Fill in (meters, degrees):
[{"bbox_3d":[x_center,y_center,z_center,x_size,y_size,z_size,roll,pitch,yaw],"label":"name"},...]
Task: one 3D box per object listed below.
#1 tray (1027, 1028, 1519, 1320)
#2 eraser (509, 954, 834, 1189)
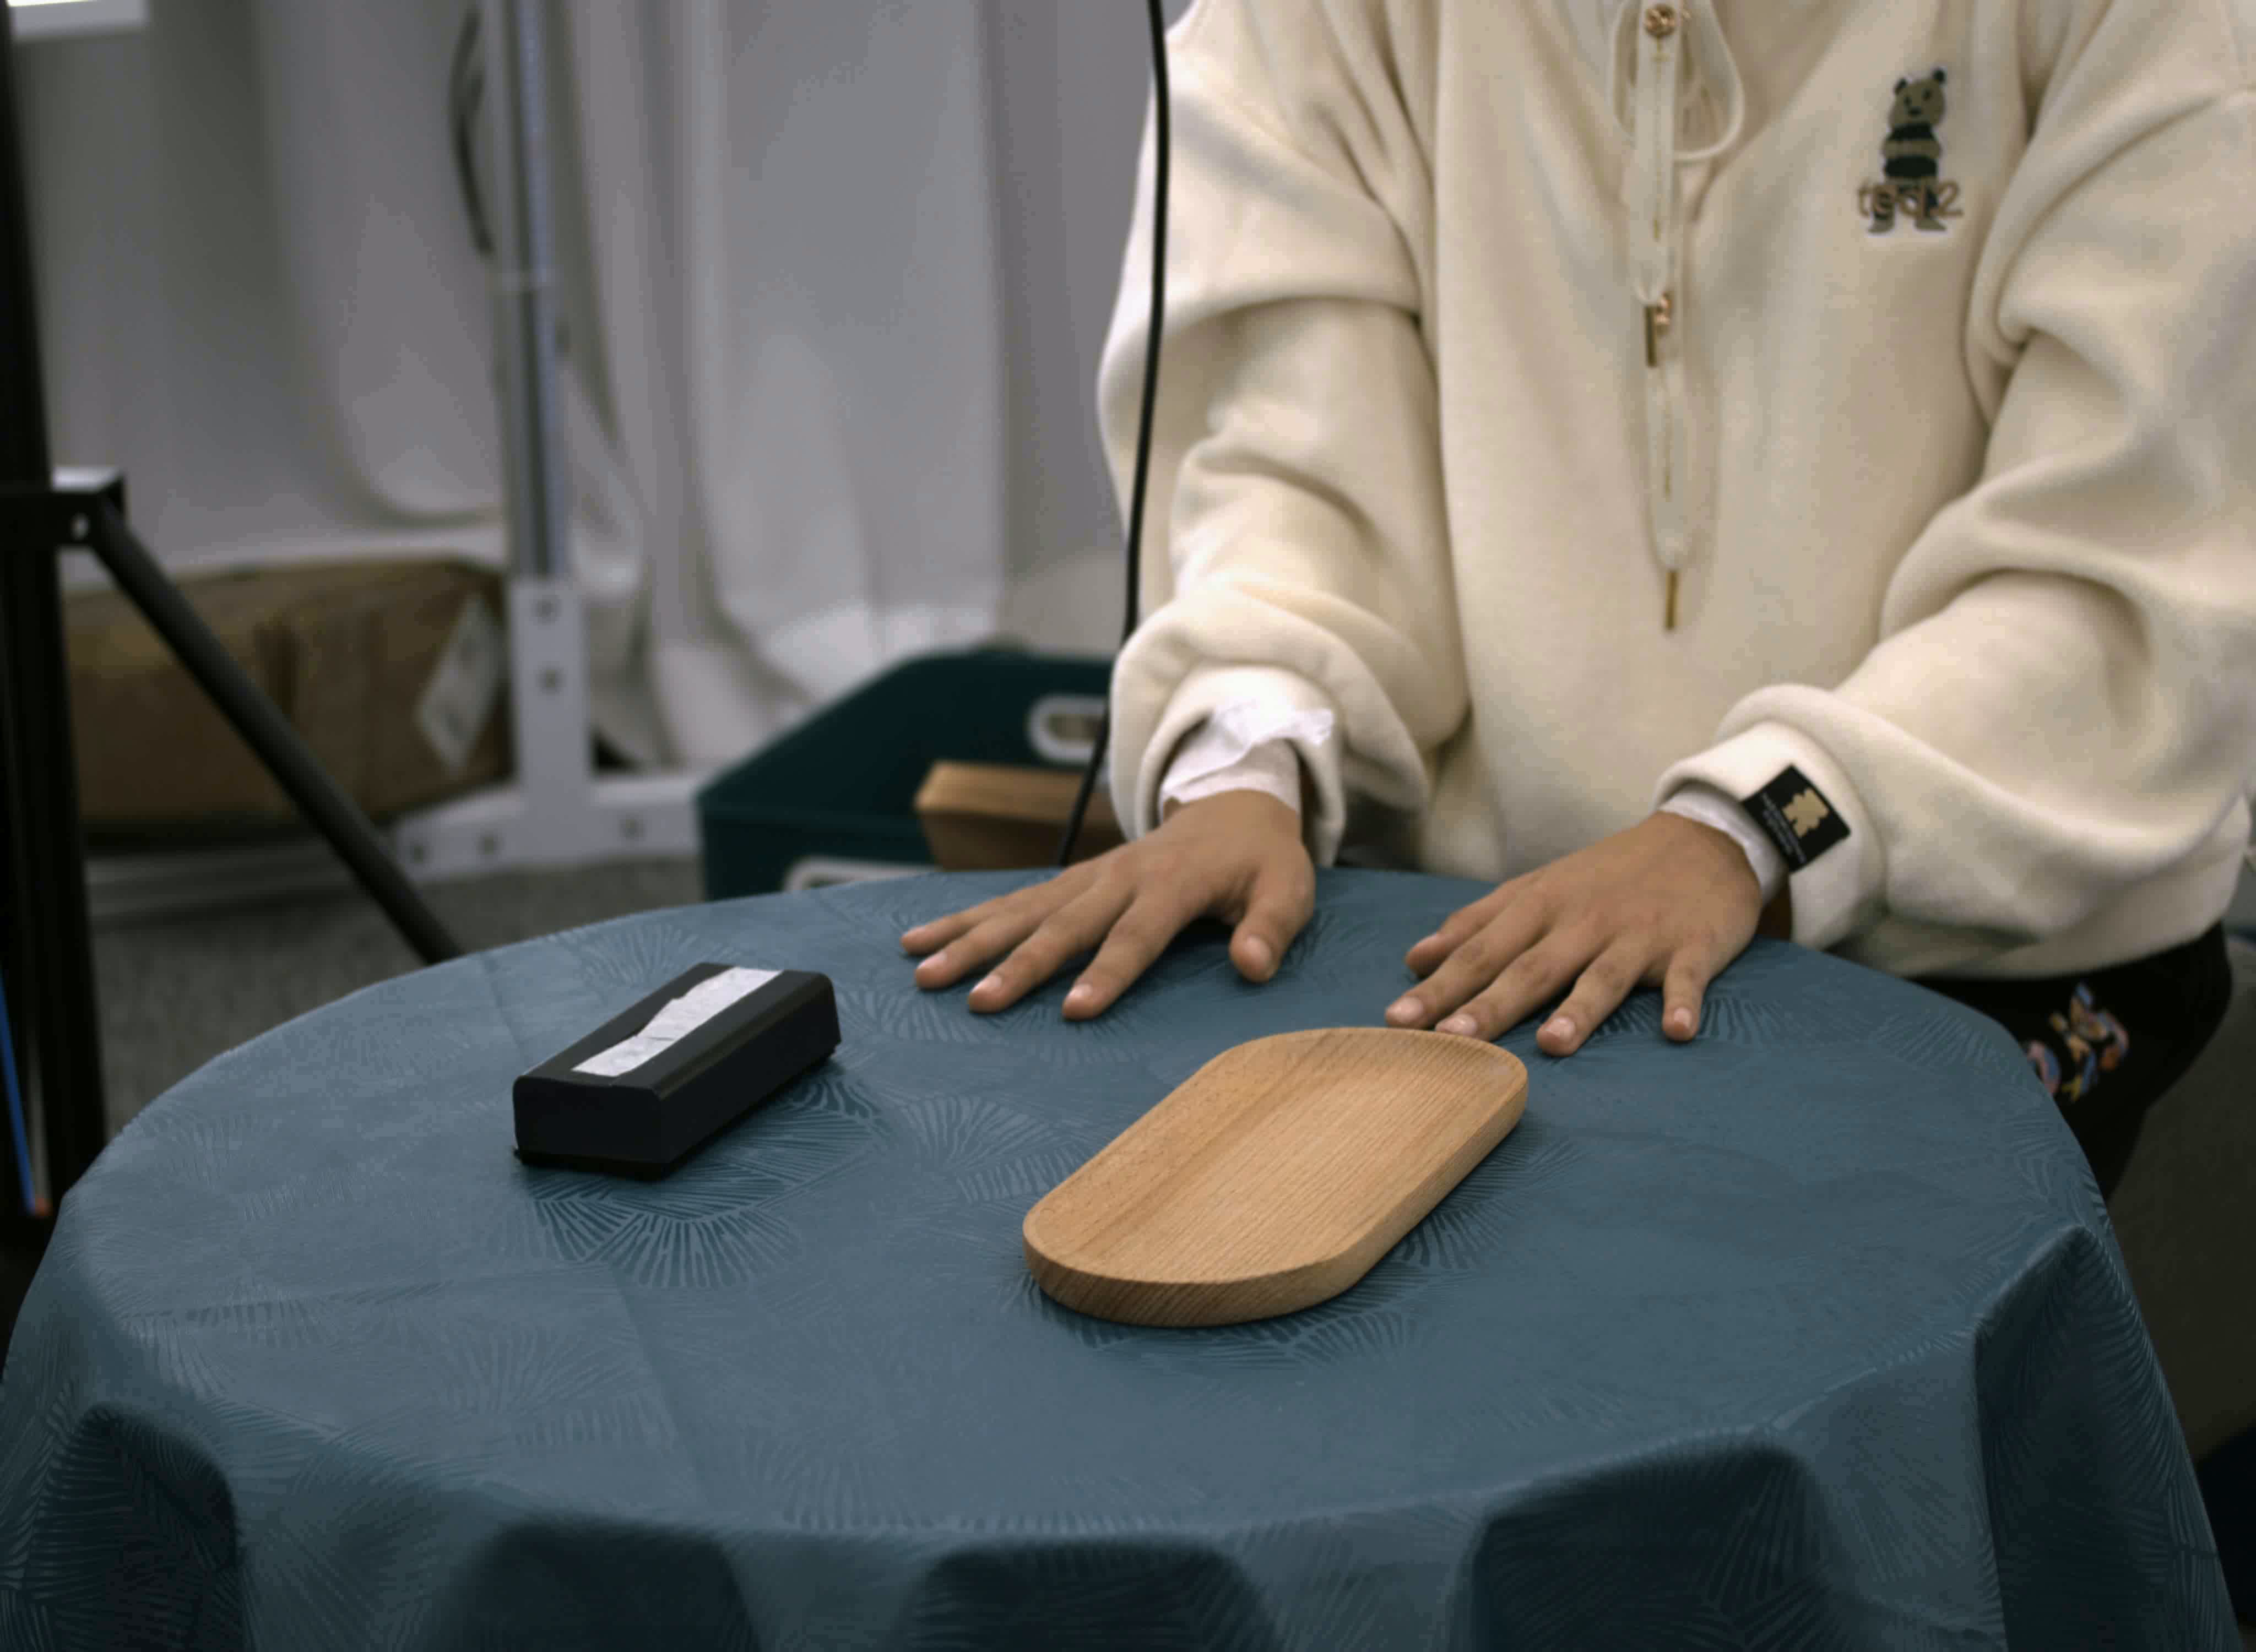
[{"bbox_3d":[0.045,0.100,1.551,0.103,0.020,0.228,4,15,21],"label":"tray"},{"bbox_3d":[-0.140,0.075,1.645,0.054,0.030,0.124,10,20,20],"label":"eraser"}]
